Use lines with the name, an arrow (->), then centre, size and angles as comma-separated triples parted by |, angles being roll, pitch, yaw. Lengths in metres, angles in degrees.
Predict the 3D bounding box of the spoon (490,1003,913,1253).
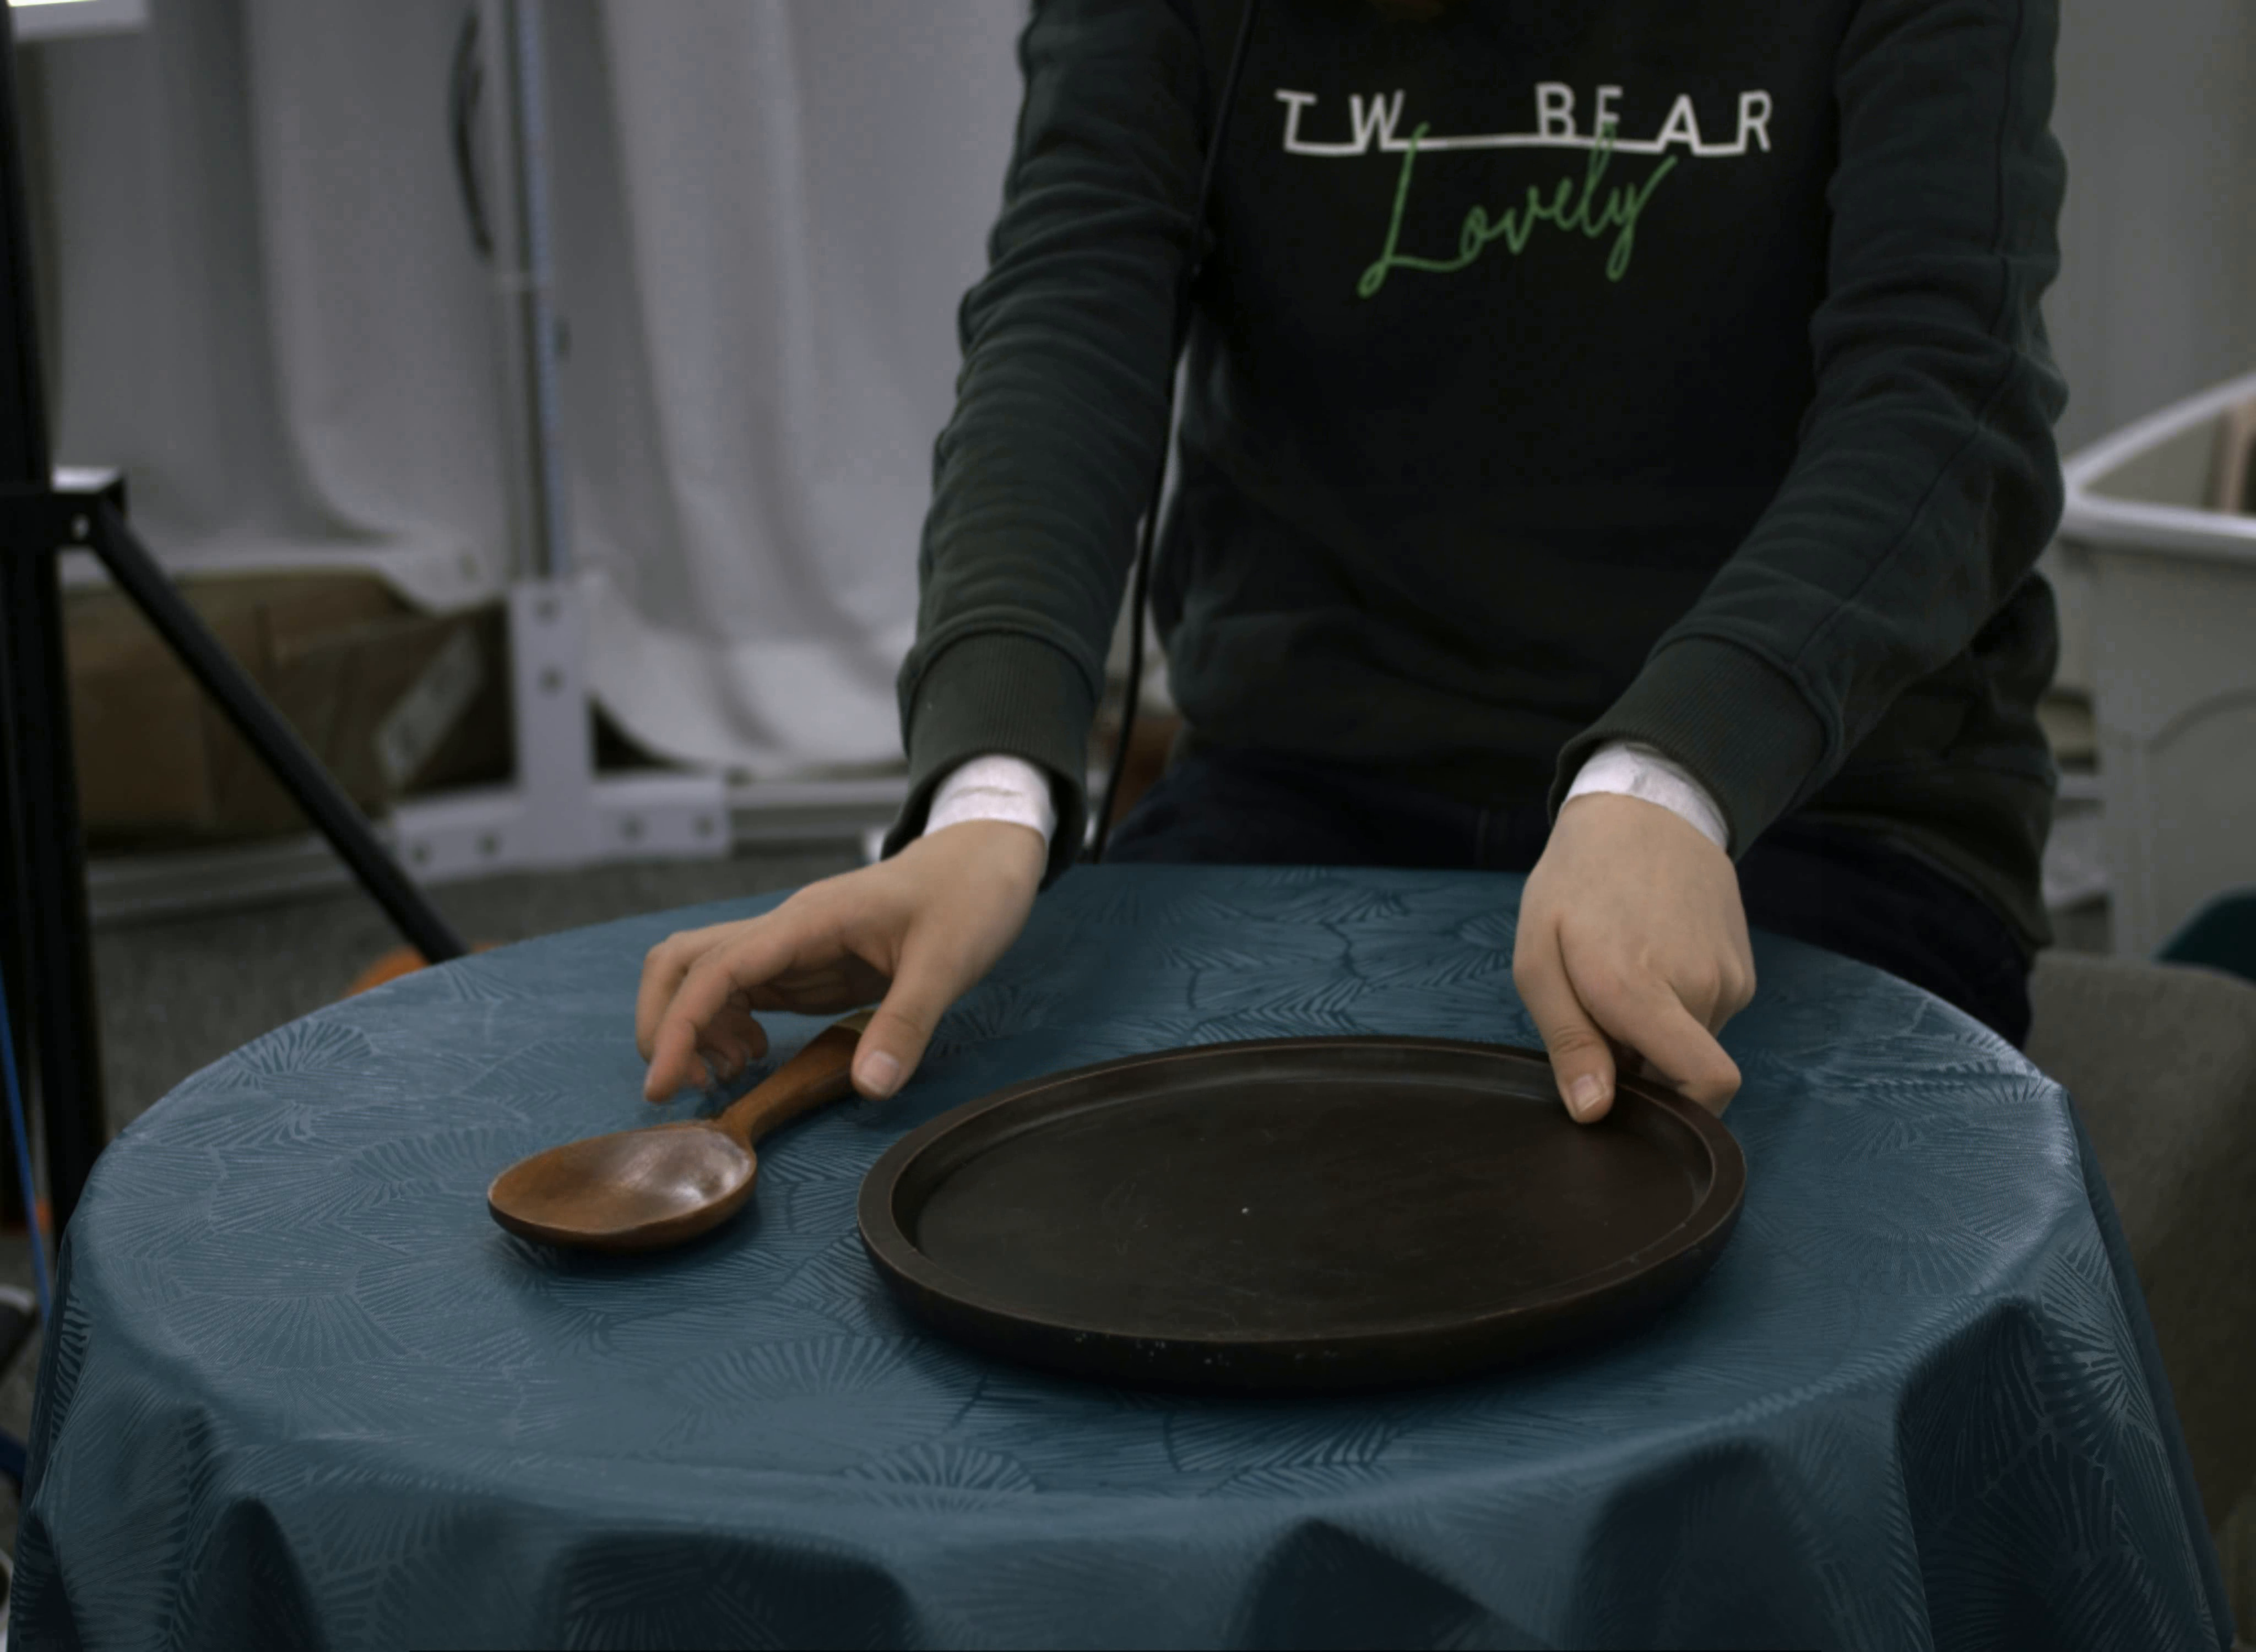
spoon -> -0.119, 0.092, 1.603 | 0.076, 0.017, 0.212 | 5, 18, 24

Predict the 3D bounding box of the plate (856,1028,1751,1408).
plate -> 0.049, 0.109, 1.497 | 0.253, 0.029, 0.256 | -4, 17, 0
